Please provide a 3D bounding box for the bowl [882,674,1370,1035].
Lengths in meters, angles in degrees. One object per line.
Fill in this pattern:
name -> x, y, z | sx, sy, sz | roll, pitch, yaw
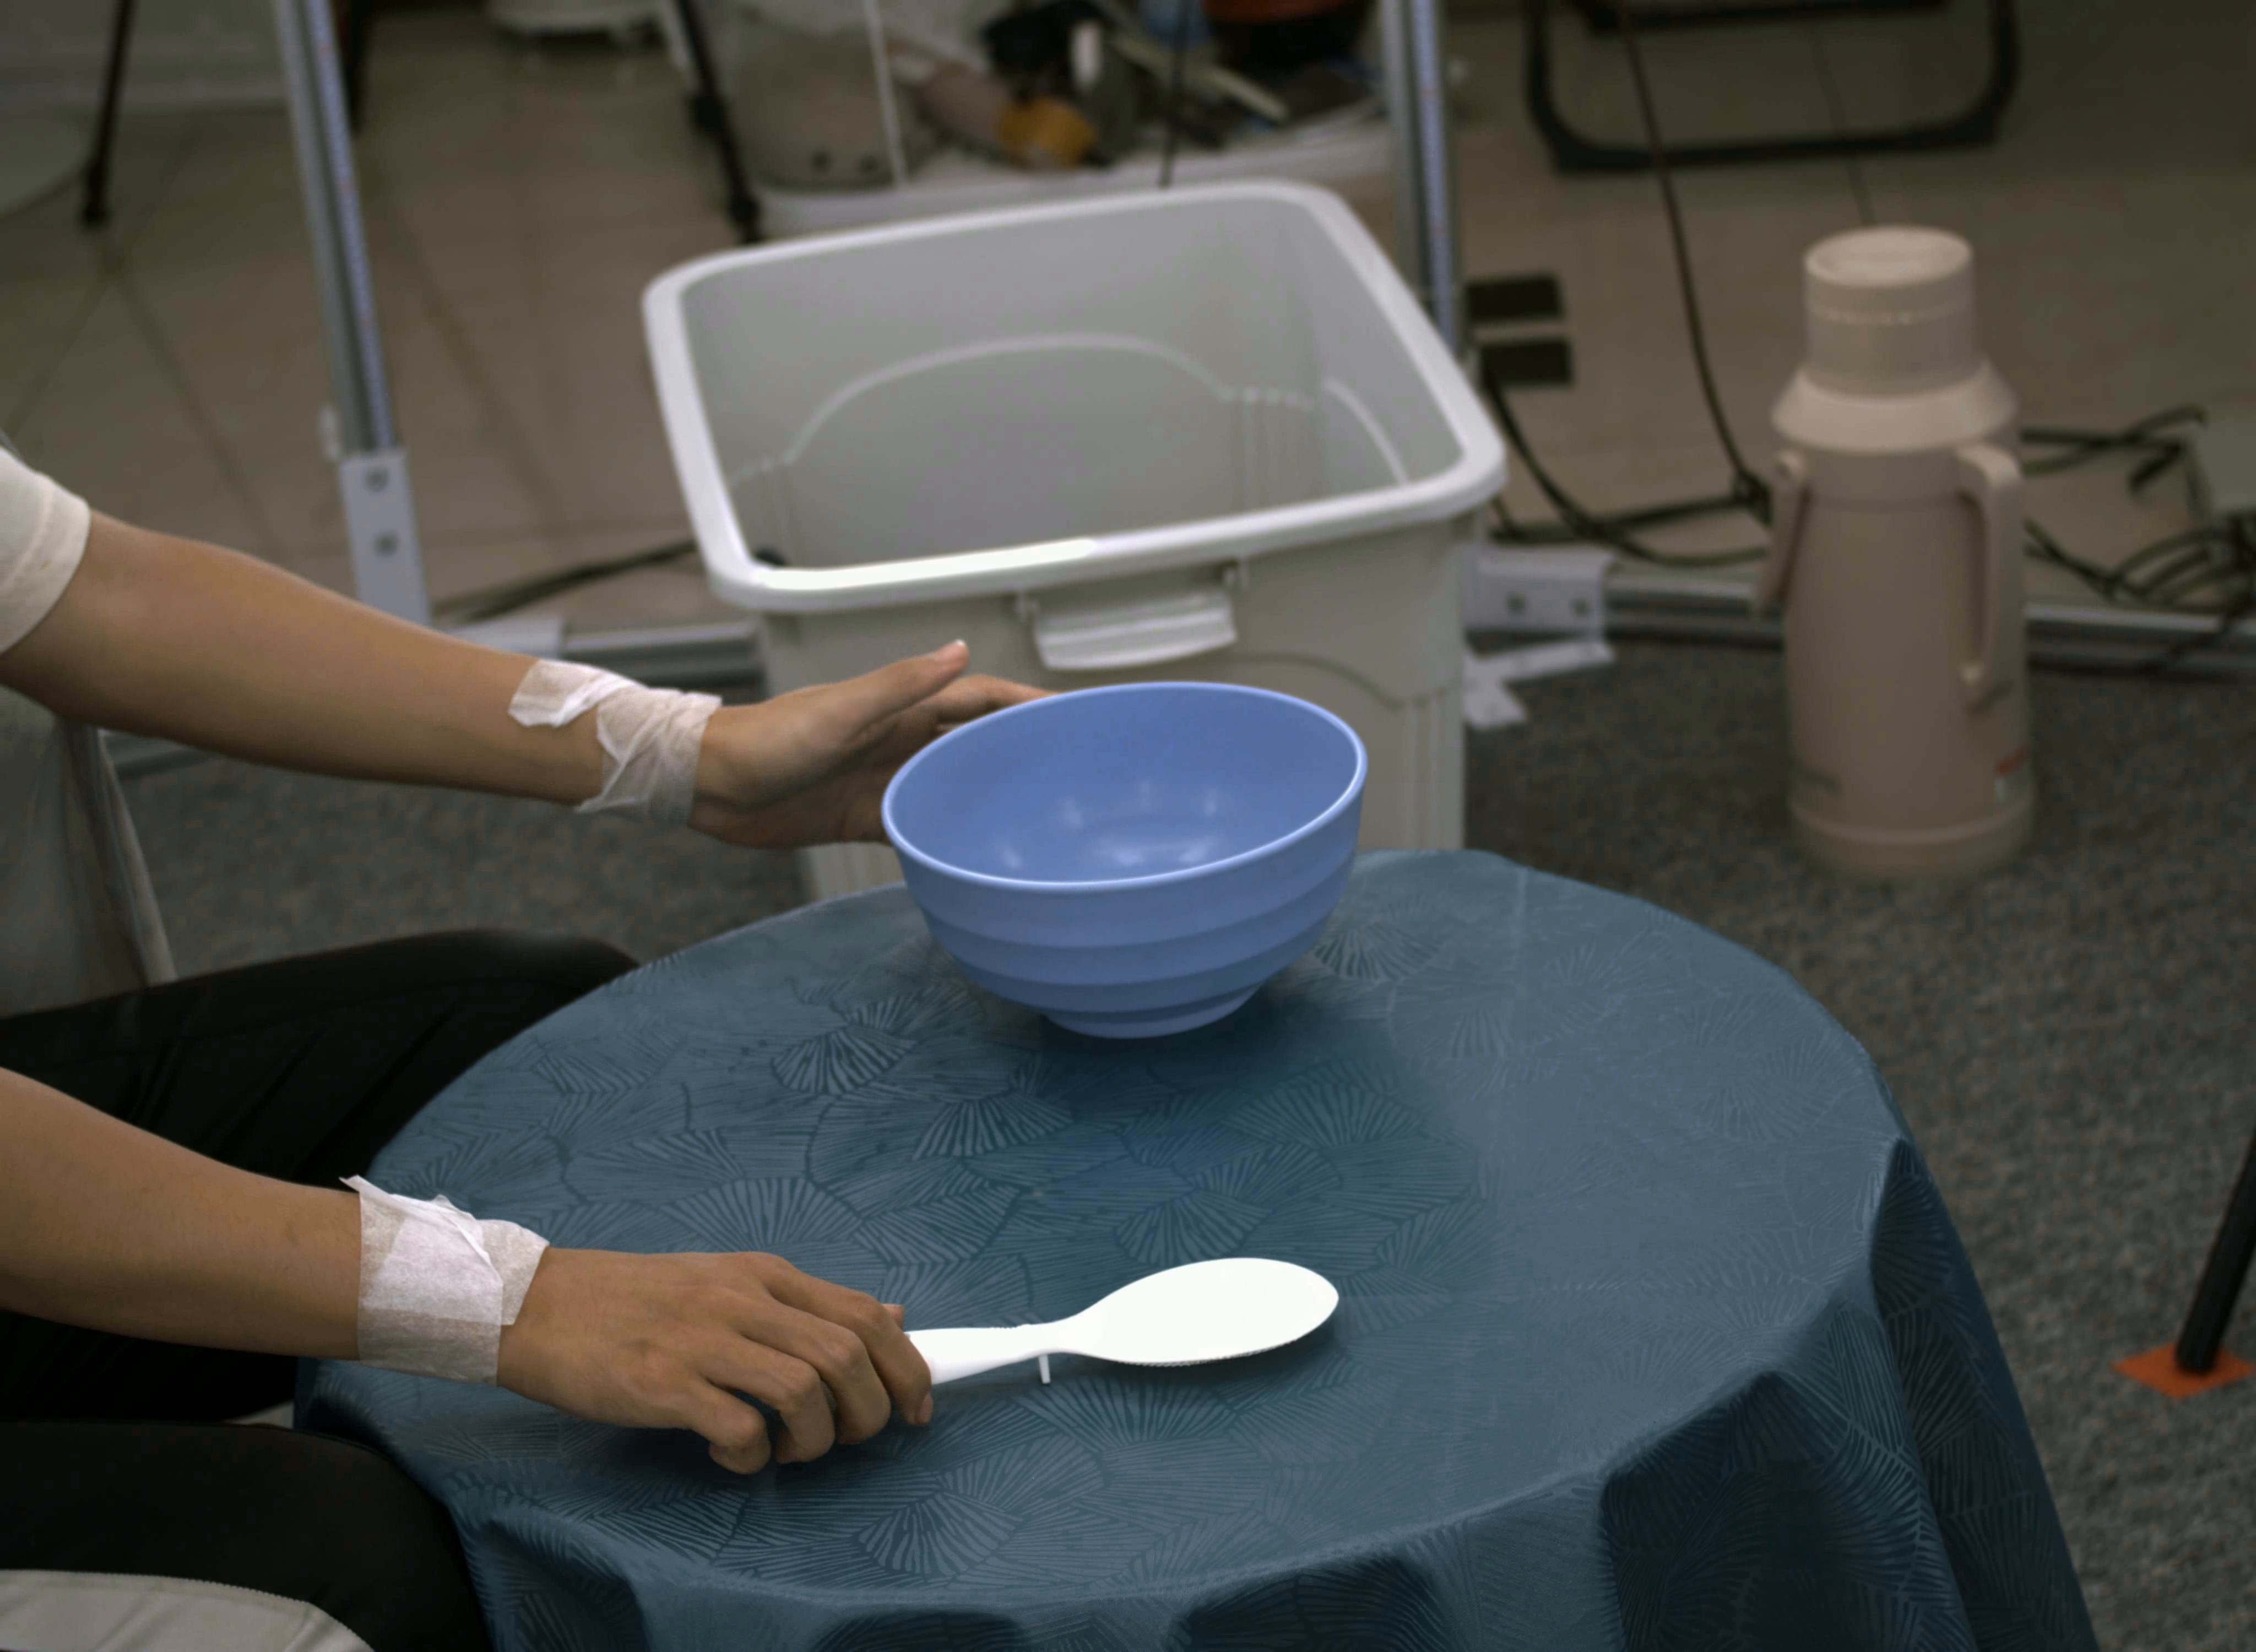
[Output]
bowl -> 0.002, 0.021, 2.285 | 0.196, 0.097, 0.193 | -4, 26, 2

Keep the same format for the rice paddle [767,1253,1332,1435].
rice paddle -> -0.027, 0.182, 2.029 | 0.205, 0.030, 0.068 | -10, 27, -8
